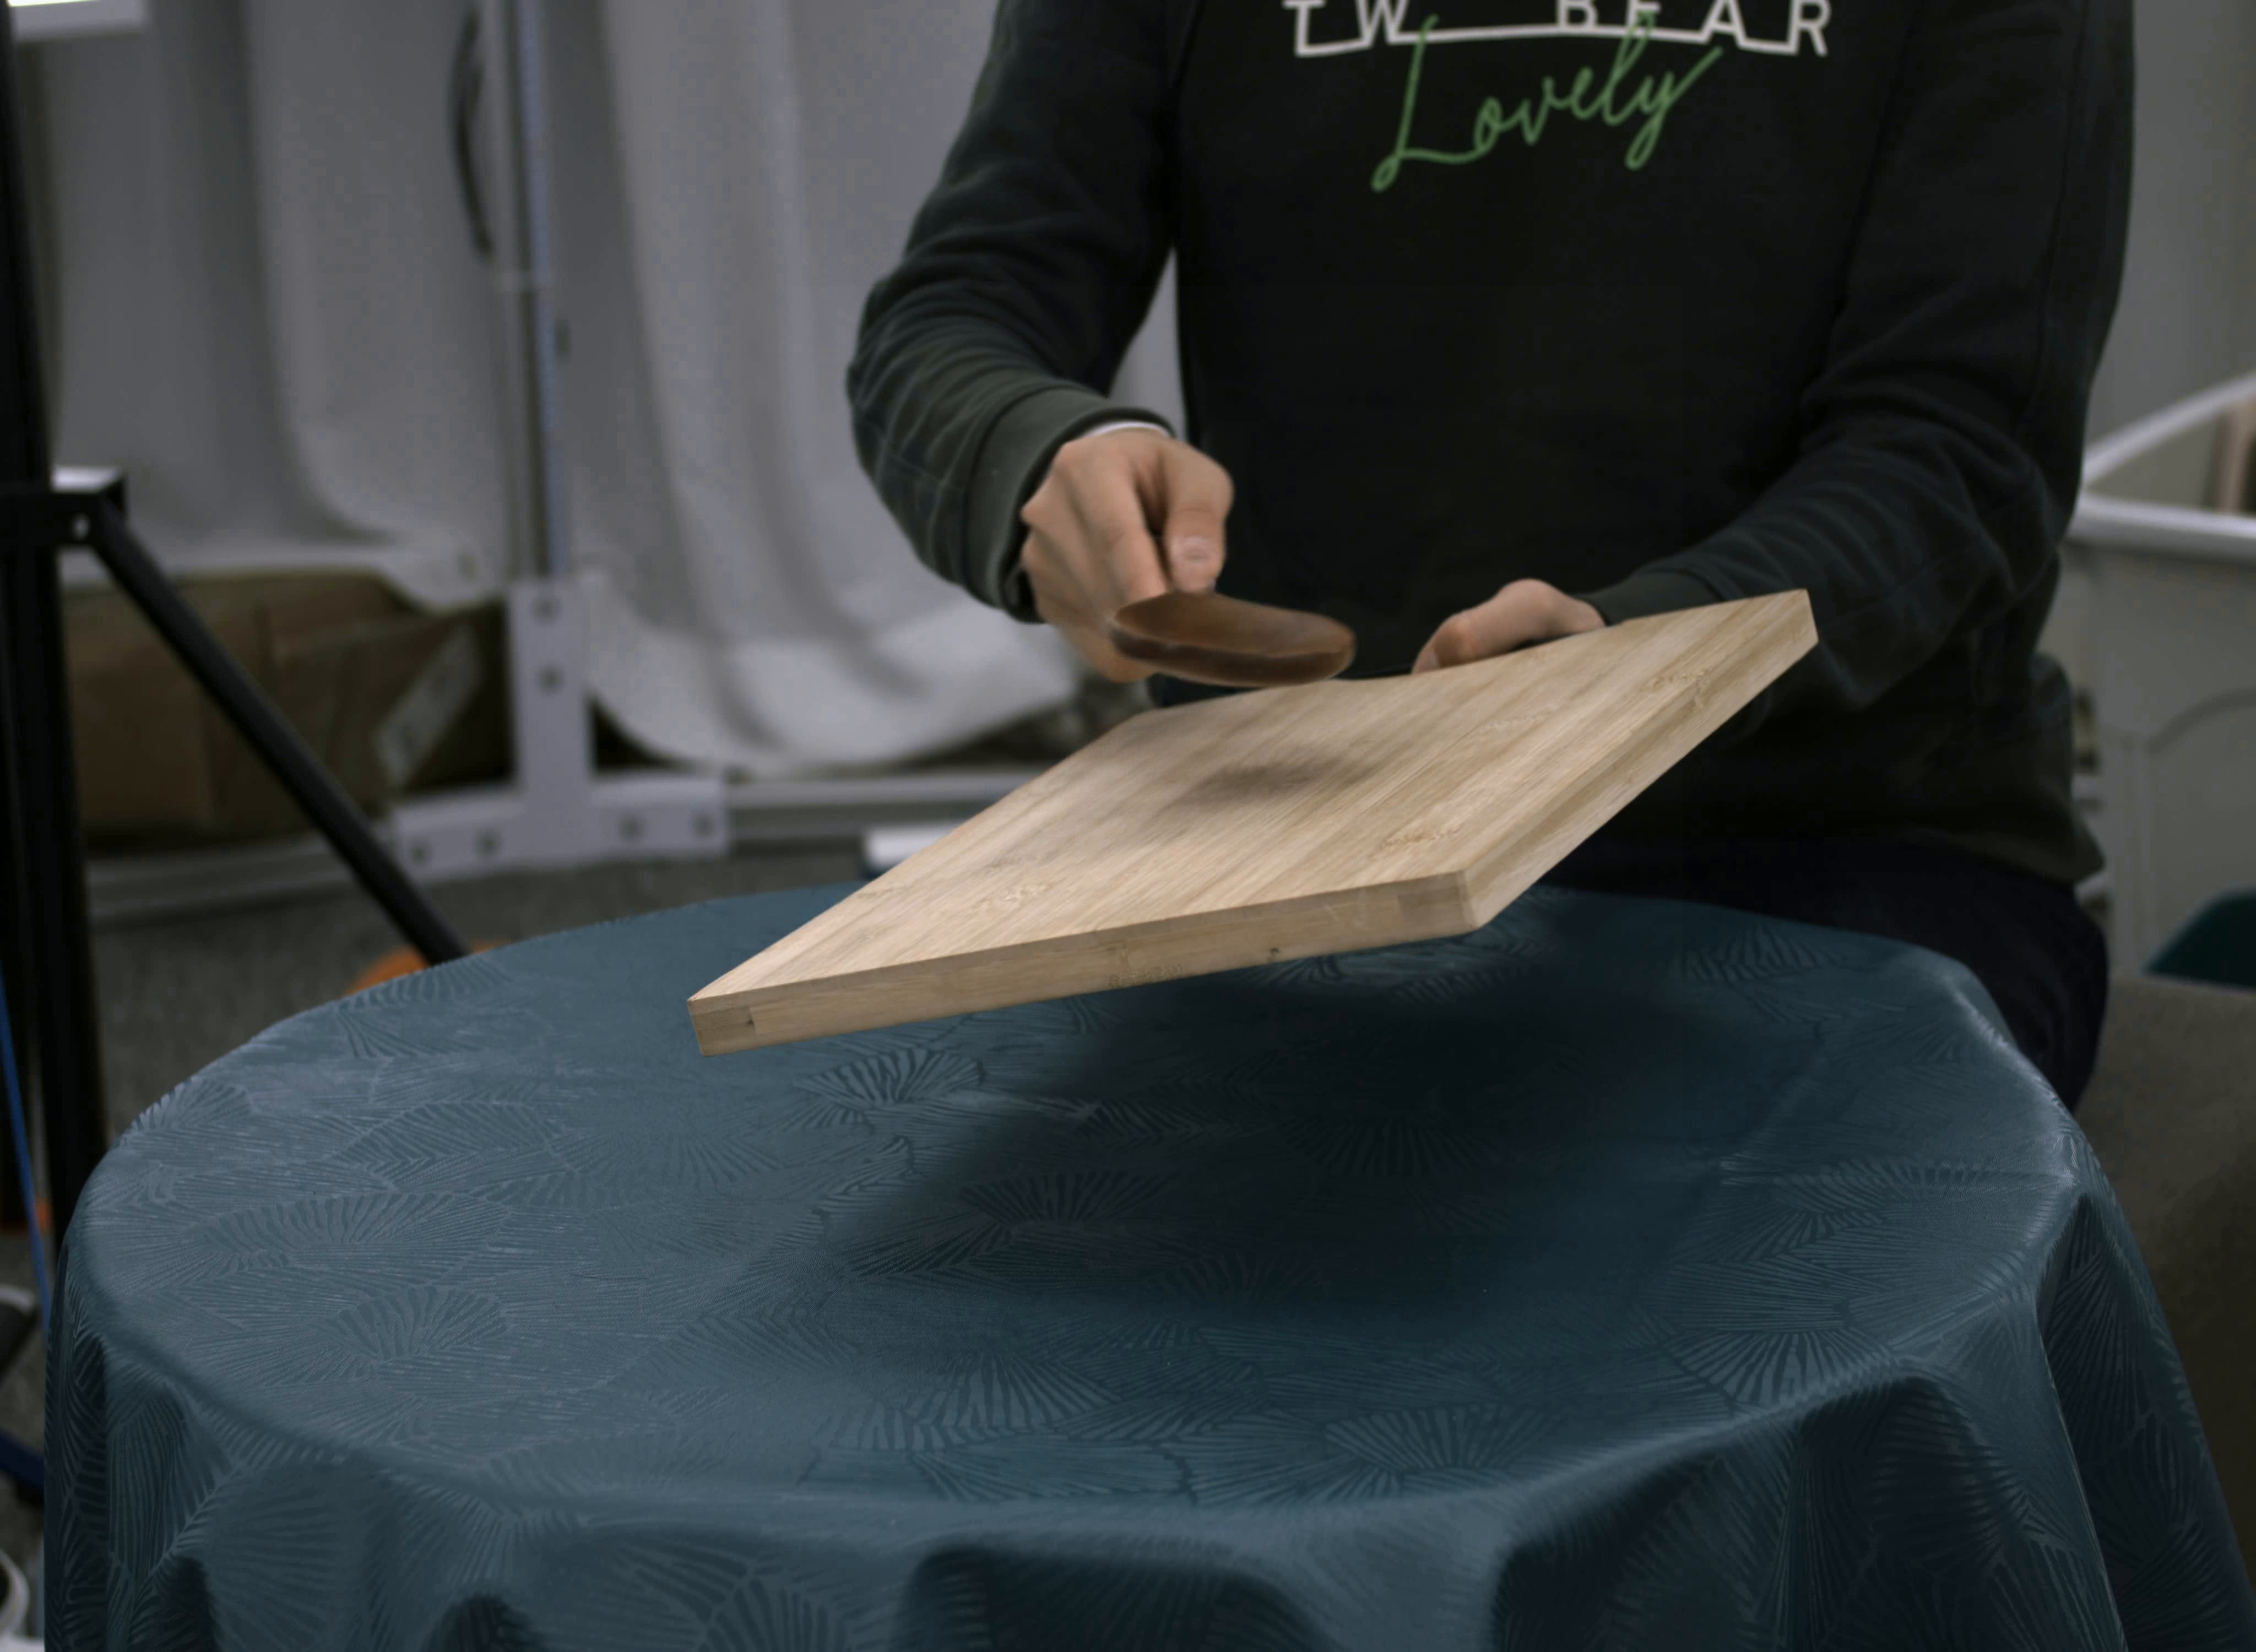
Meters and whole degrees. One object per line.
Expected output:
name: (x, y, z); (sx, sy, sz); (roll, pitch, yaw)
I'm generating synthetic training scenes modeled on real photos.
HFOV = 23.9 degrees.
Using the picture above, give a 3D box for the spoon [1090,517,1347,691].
spoon: (0.017, -0.067, 1.645); (0.074, 0.017, 0.218); (0, 14, -9)

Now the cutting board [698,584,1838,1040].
cutting board: (0.051, -0.006, 1.593); (0.254, 0.023, 0.344); (-9, 11, 25)
